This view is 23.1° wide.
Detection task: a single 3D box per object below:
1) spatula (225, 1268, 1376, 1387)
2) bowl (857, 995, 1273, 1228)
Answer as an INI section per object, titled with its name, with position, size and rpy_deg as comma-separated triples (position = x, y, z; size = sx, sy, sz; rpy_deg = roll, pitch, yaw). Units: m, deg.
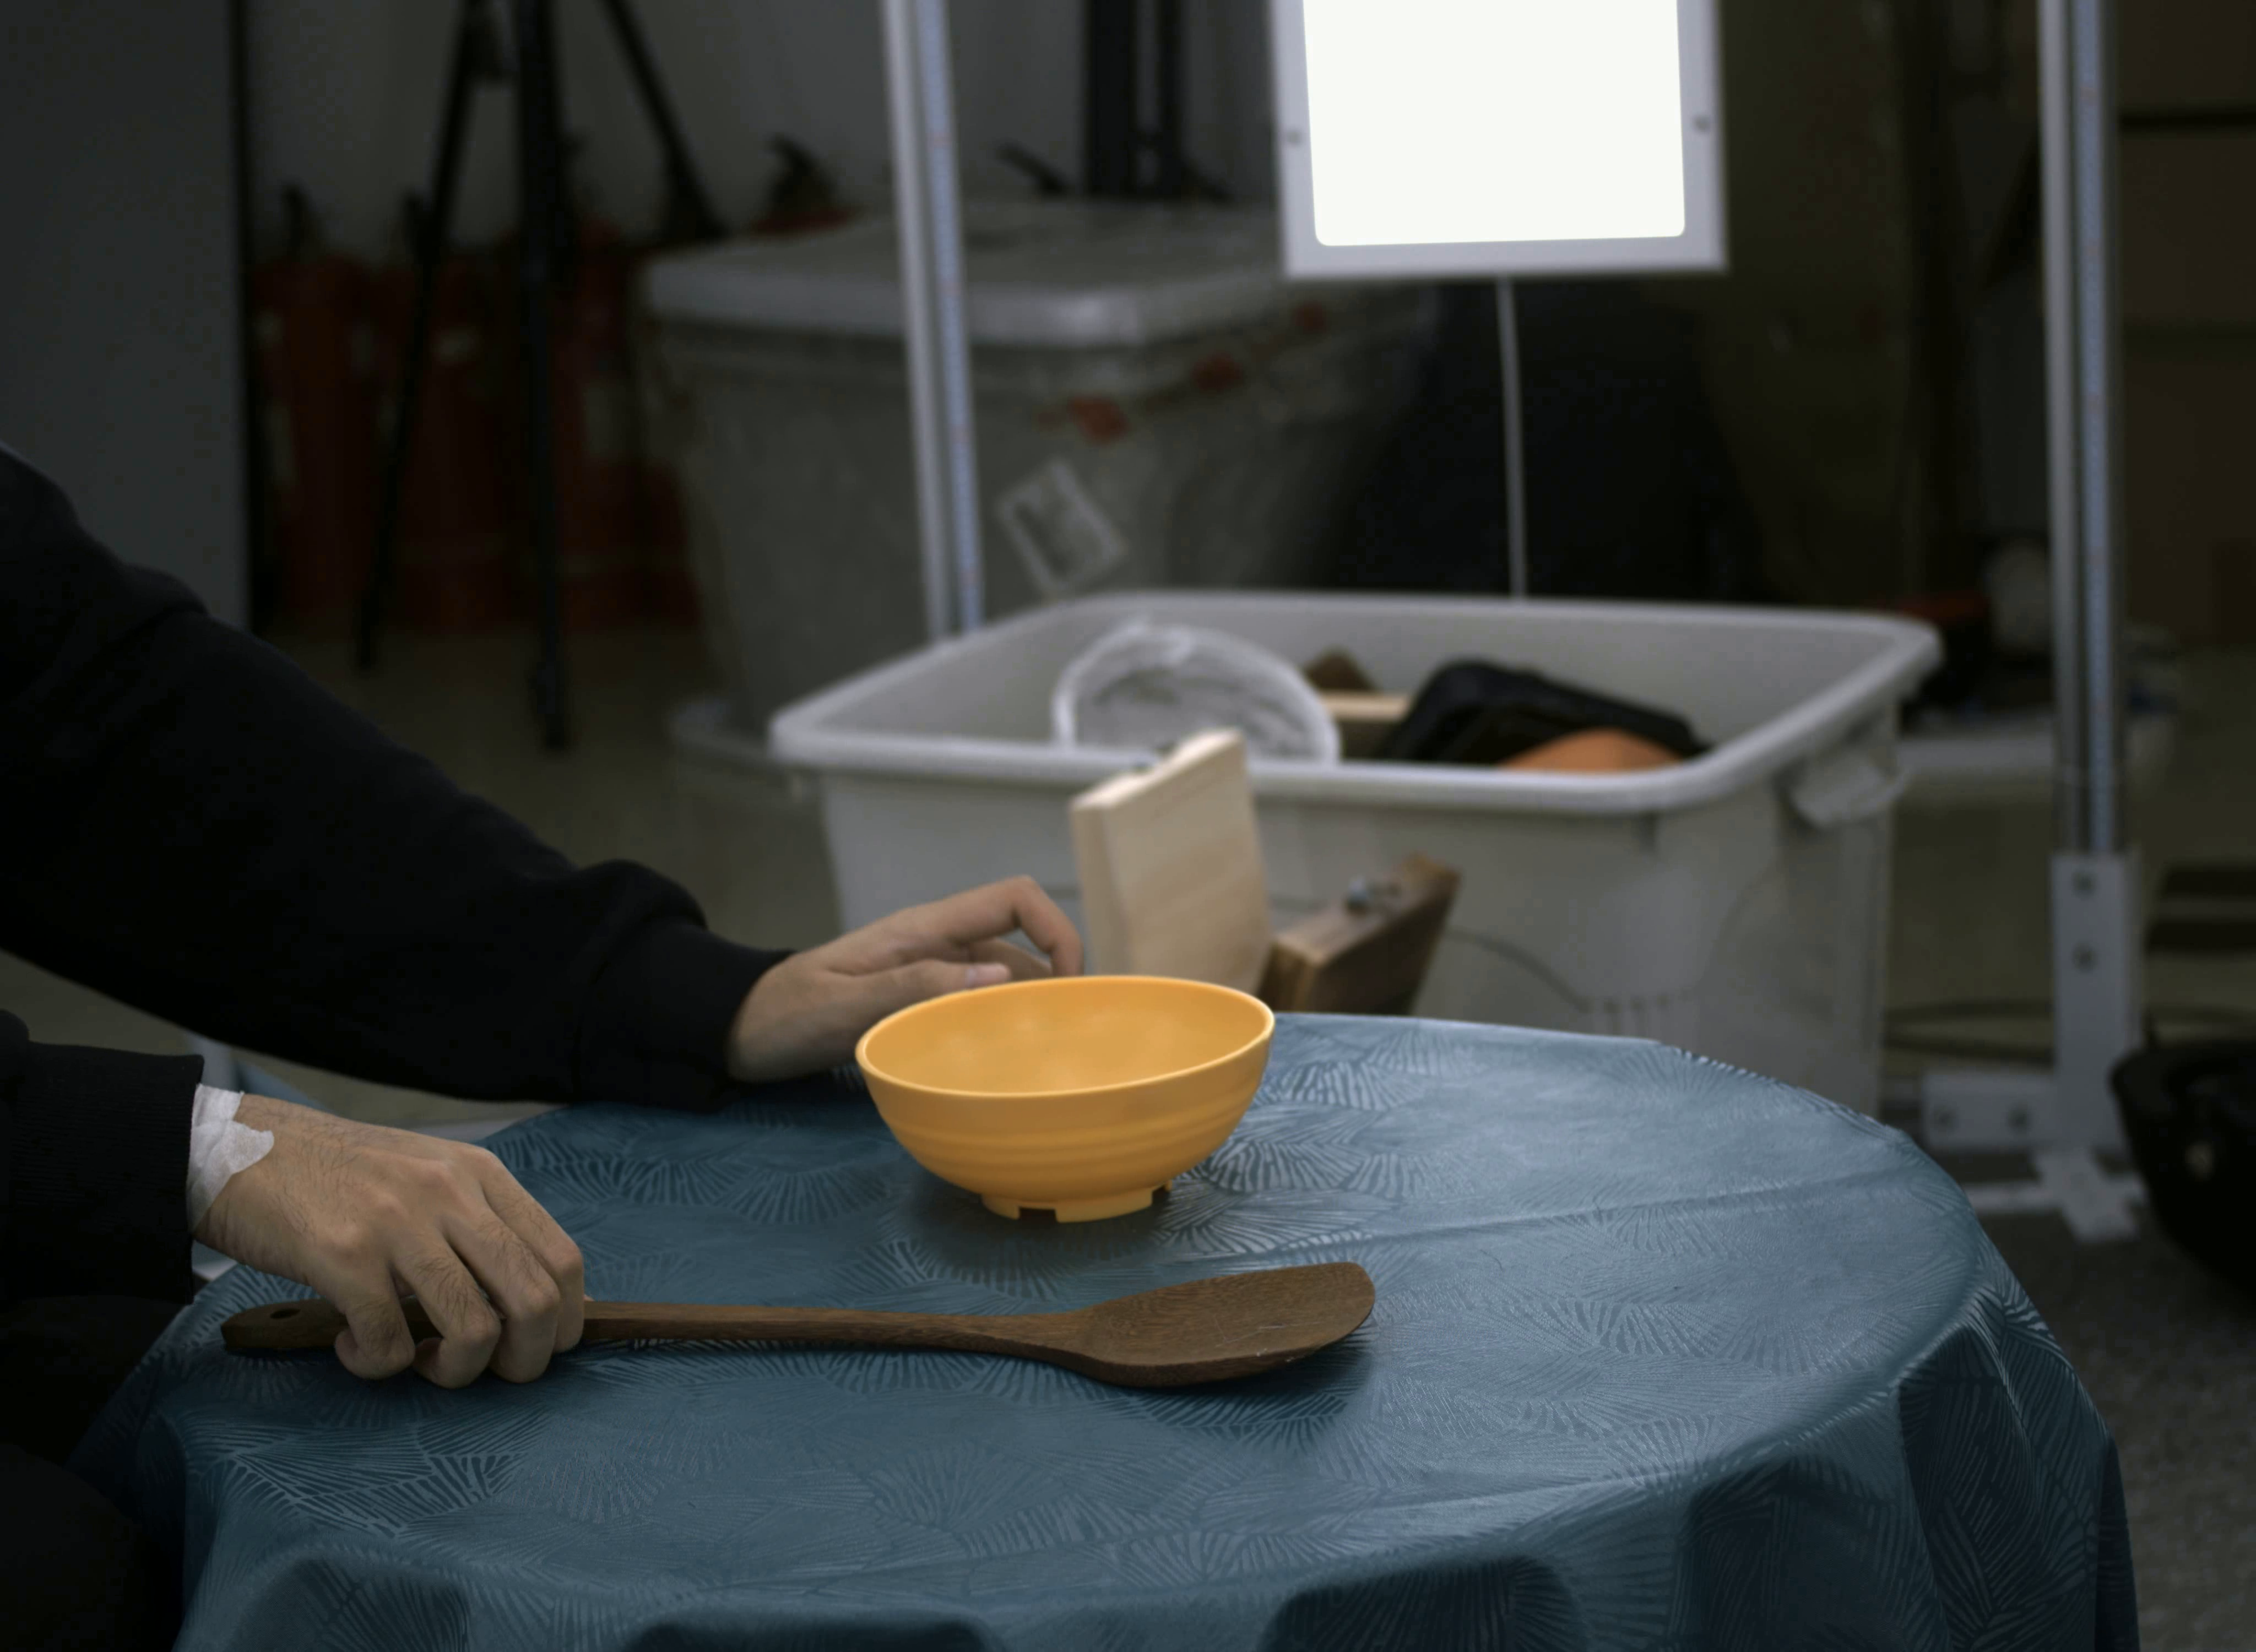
[spatula]
position = -0.110, 0.160, 1.770
size = 0.390, 0.016, 0.095
rpy_deg = -1, 13, 16
[bowl]
position = -0.020, 0.101, 1.893
size = 0.145, 0.060, 0.145
rpy_deg = -5, 11, 0
